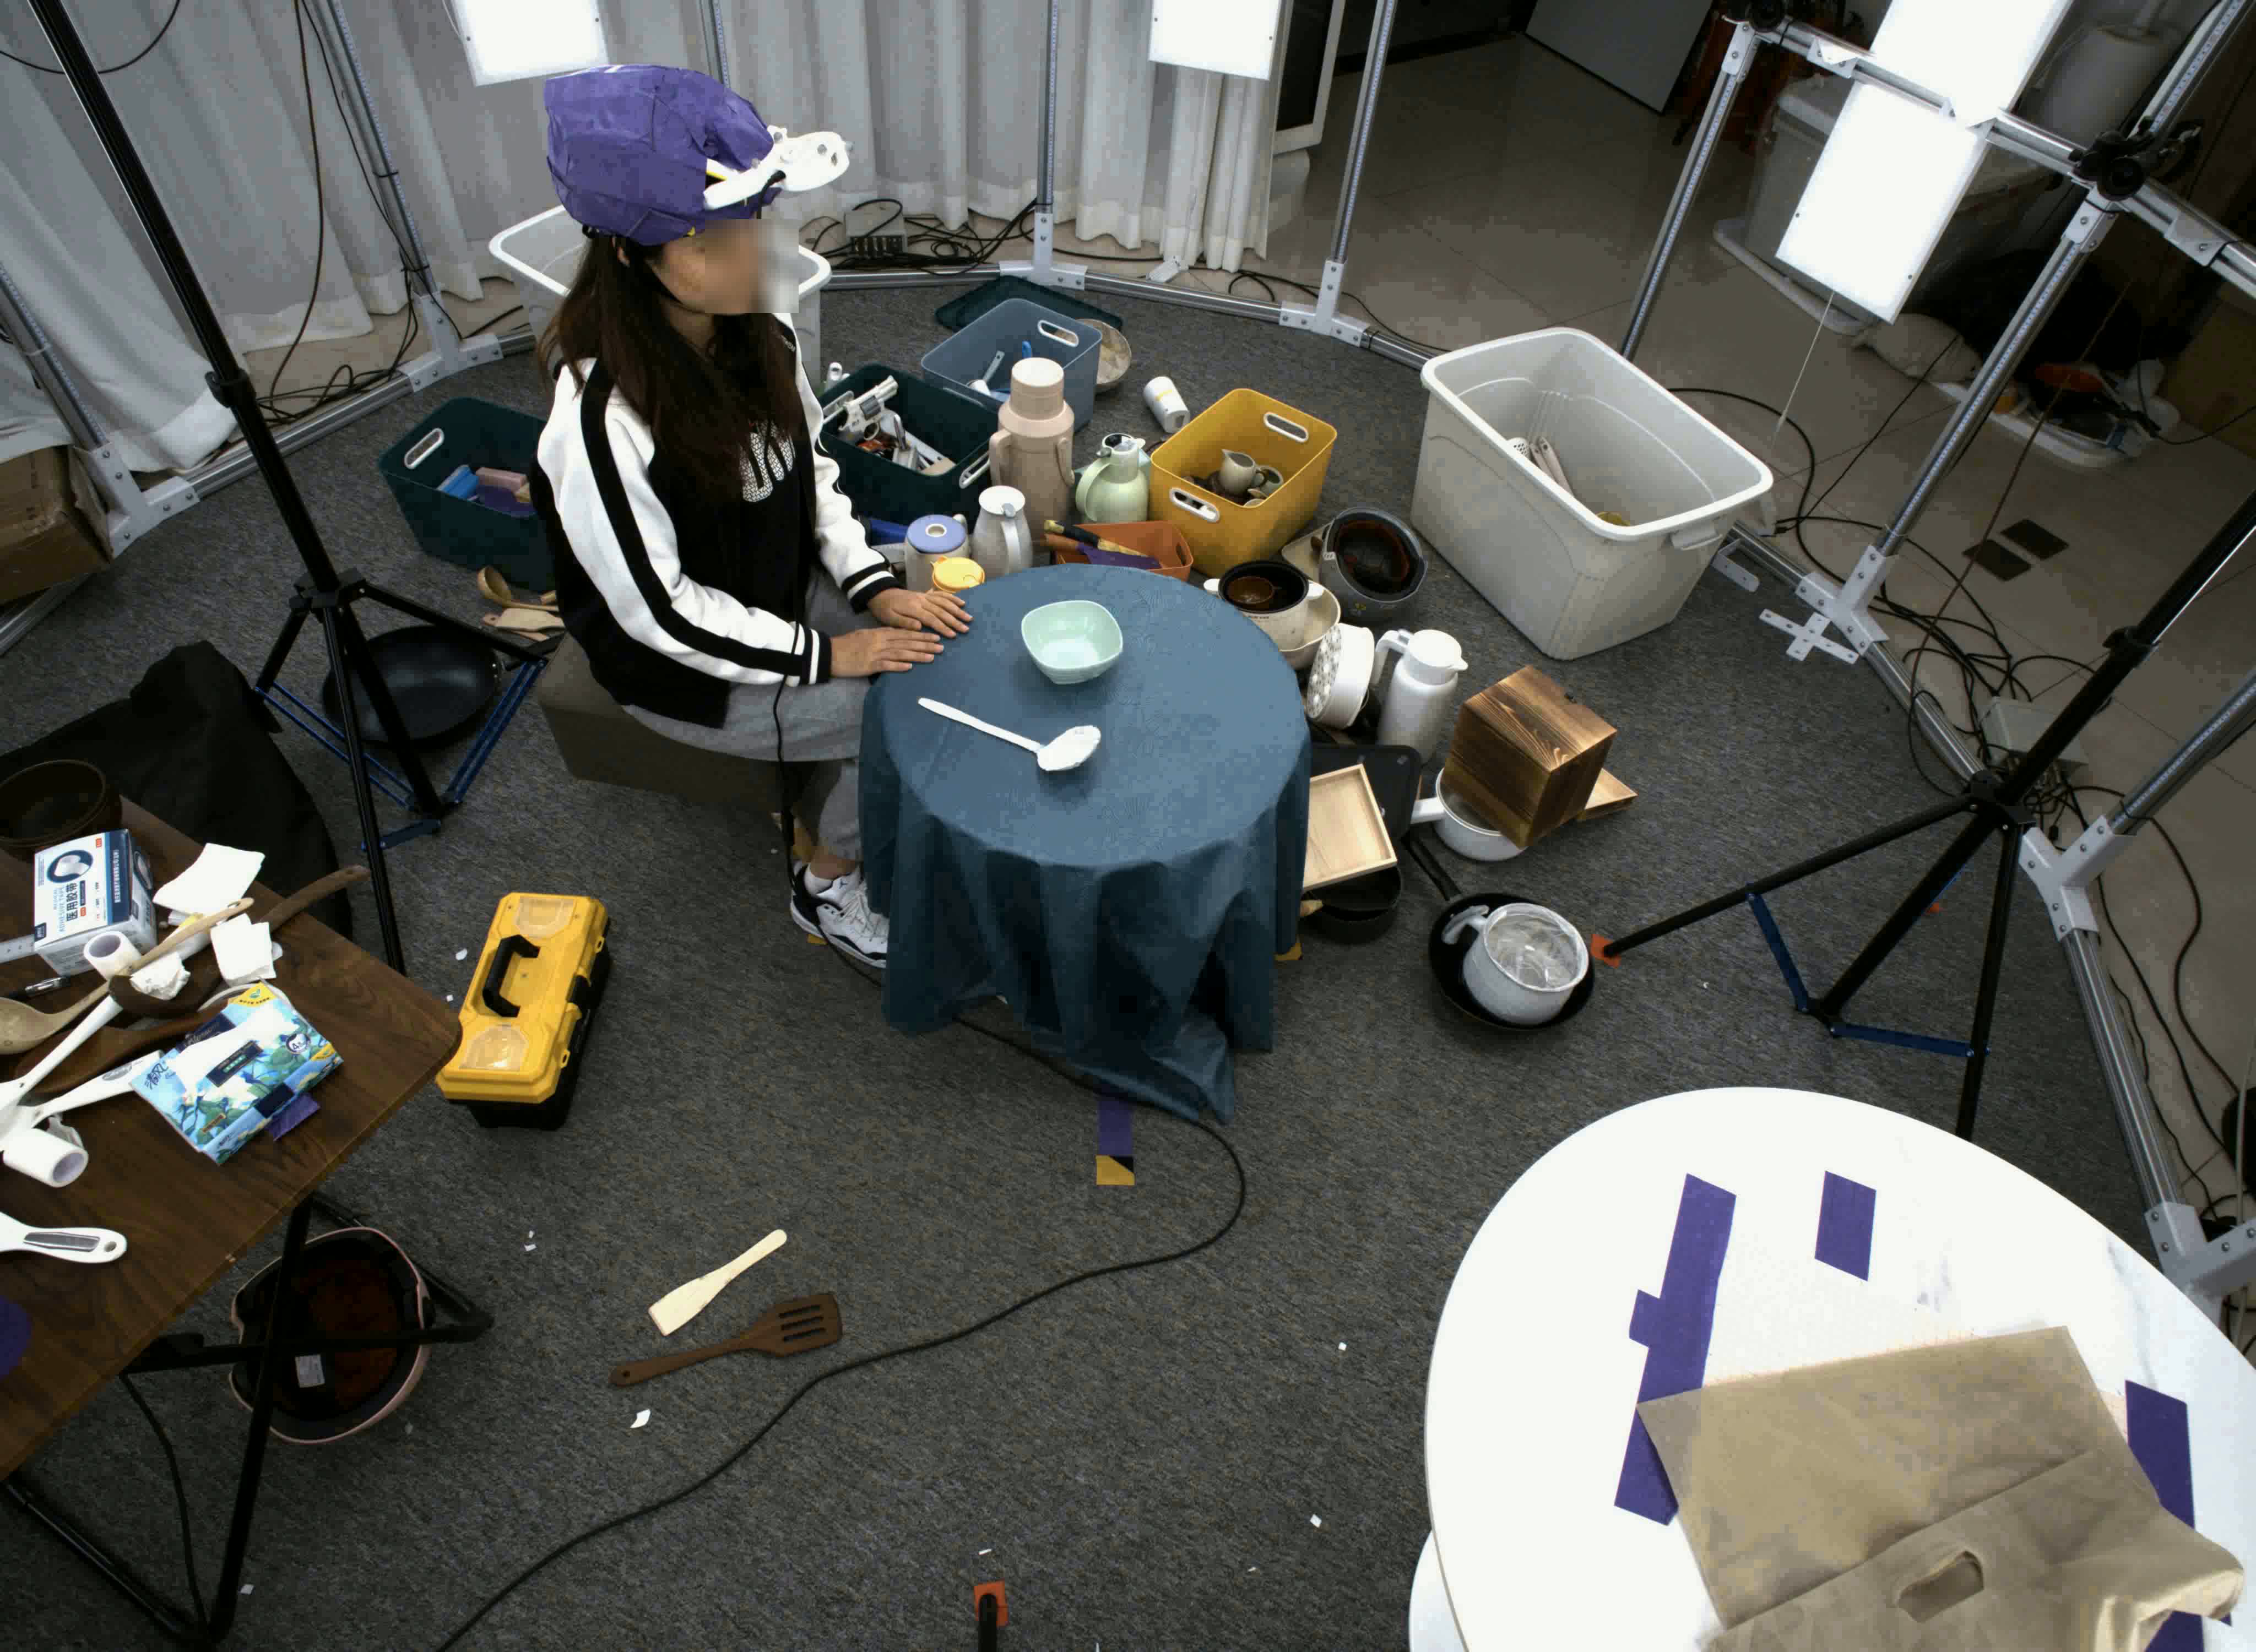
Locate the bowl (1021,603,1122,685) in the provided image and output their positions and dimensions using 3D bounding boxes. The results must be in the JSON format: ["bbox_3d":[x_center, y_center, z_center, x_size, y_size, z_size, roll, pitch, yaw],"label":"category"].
[{"bbox_3d":[-0.082,-0.254,1.851,0.151,0.057,0.155,2,49,-2],"label":"bowl"}]

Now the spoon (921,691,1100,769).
[{"bbox_3d":[-0.164,-0.148,1.751,0.280,0.058,0.102,26,48,17],"label":"spoon"}]
